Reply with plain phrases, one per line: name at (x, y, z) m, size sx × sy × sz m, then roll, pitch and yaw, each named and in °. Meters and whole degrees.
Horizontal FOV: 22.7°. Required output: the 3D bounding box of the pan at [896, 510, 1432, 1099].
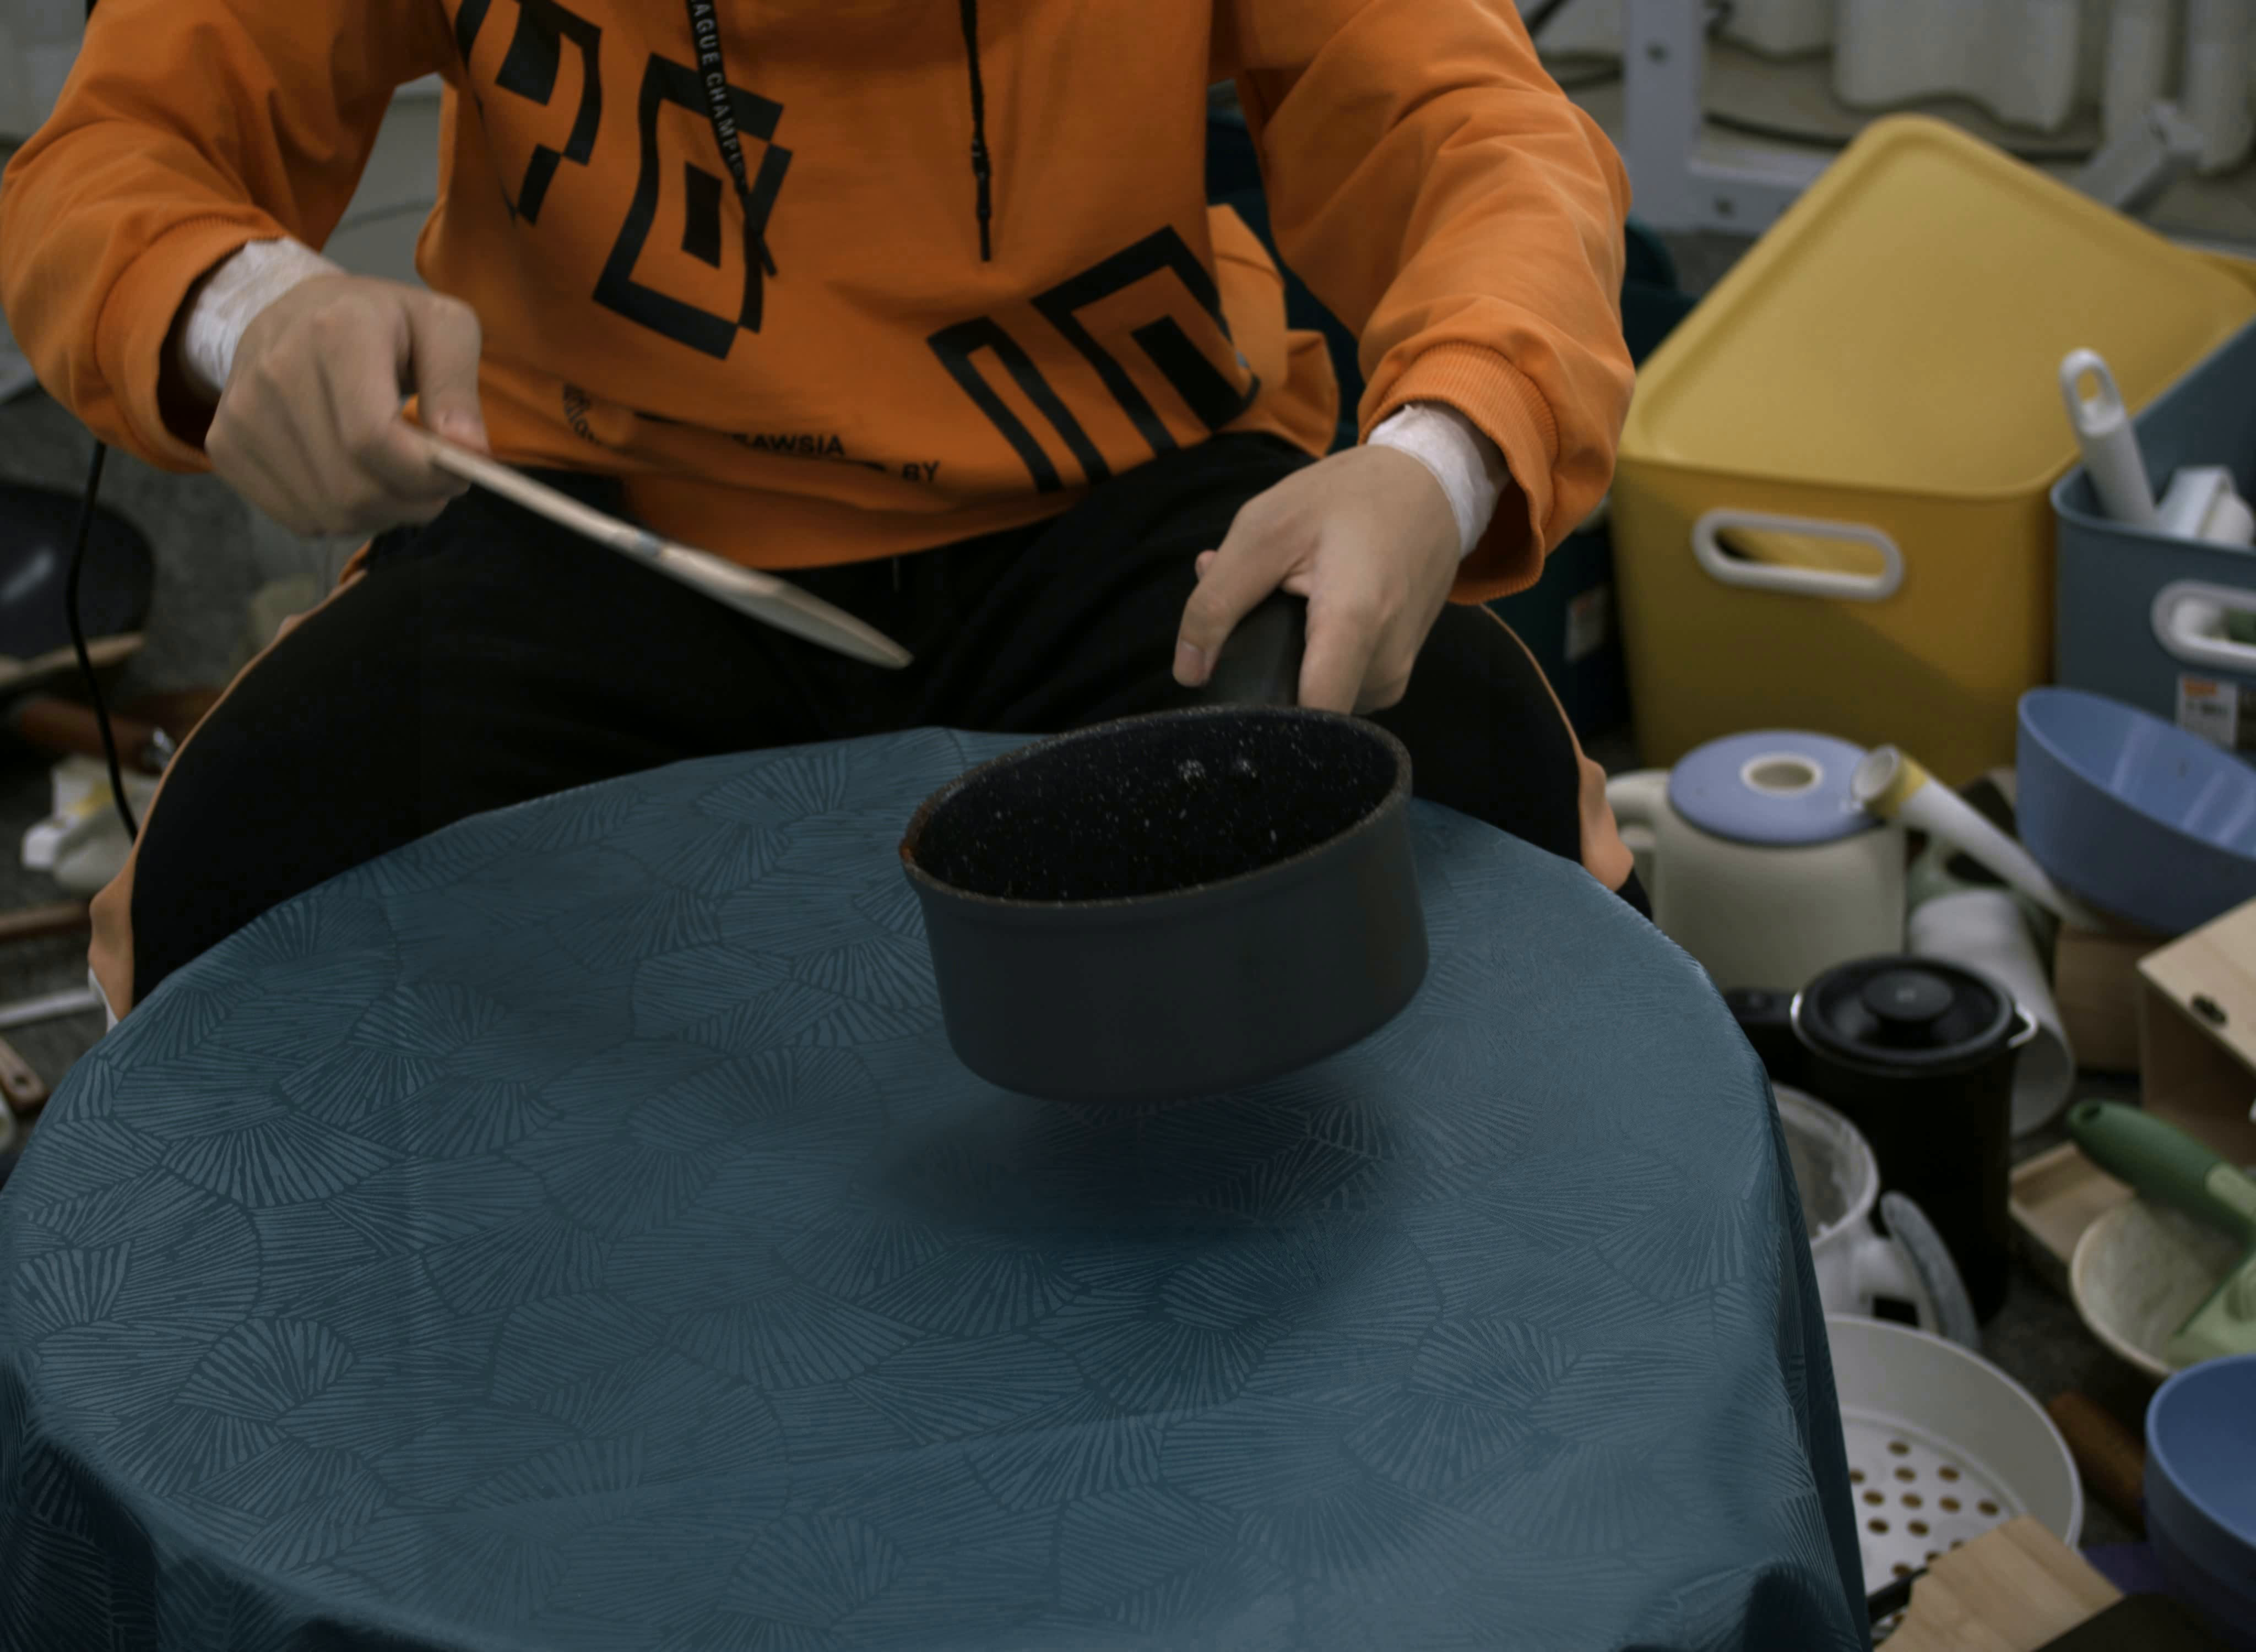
pan at (0.036, -0.010, 1.926) m, size 0.170 × 0.086 × 0.334 m, roll -2°, pitch 23°, yaw 19°

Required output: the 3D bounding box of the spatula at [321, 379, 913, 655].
spatula at (-0.186, -0.110, 1.904) m, size 0.293 × 0.011 × 0.072 m, roll 24°, pitch -5°, yaw 44°
